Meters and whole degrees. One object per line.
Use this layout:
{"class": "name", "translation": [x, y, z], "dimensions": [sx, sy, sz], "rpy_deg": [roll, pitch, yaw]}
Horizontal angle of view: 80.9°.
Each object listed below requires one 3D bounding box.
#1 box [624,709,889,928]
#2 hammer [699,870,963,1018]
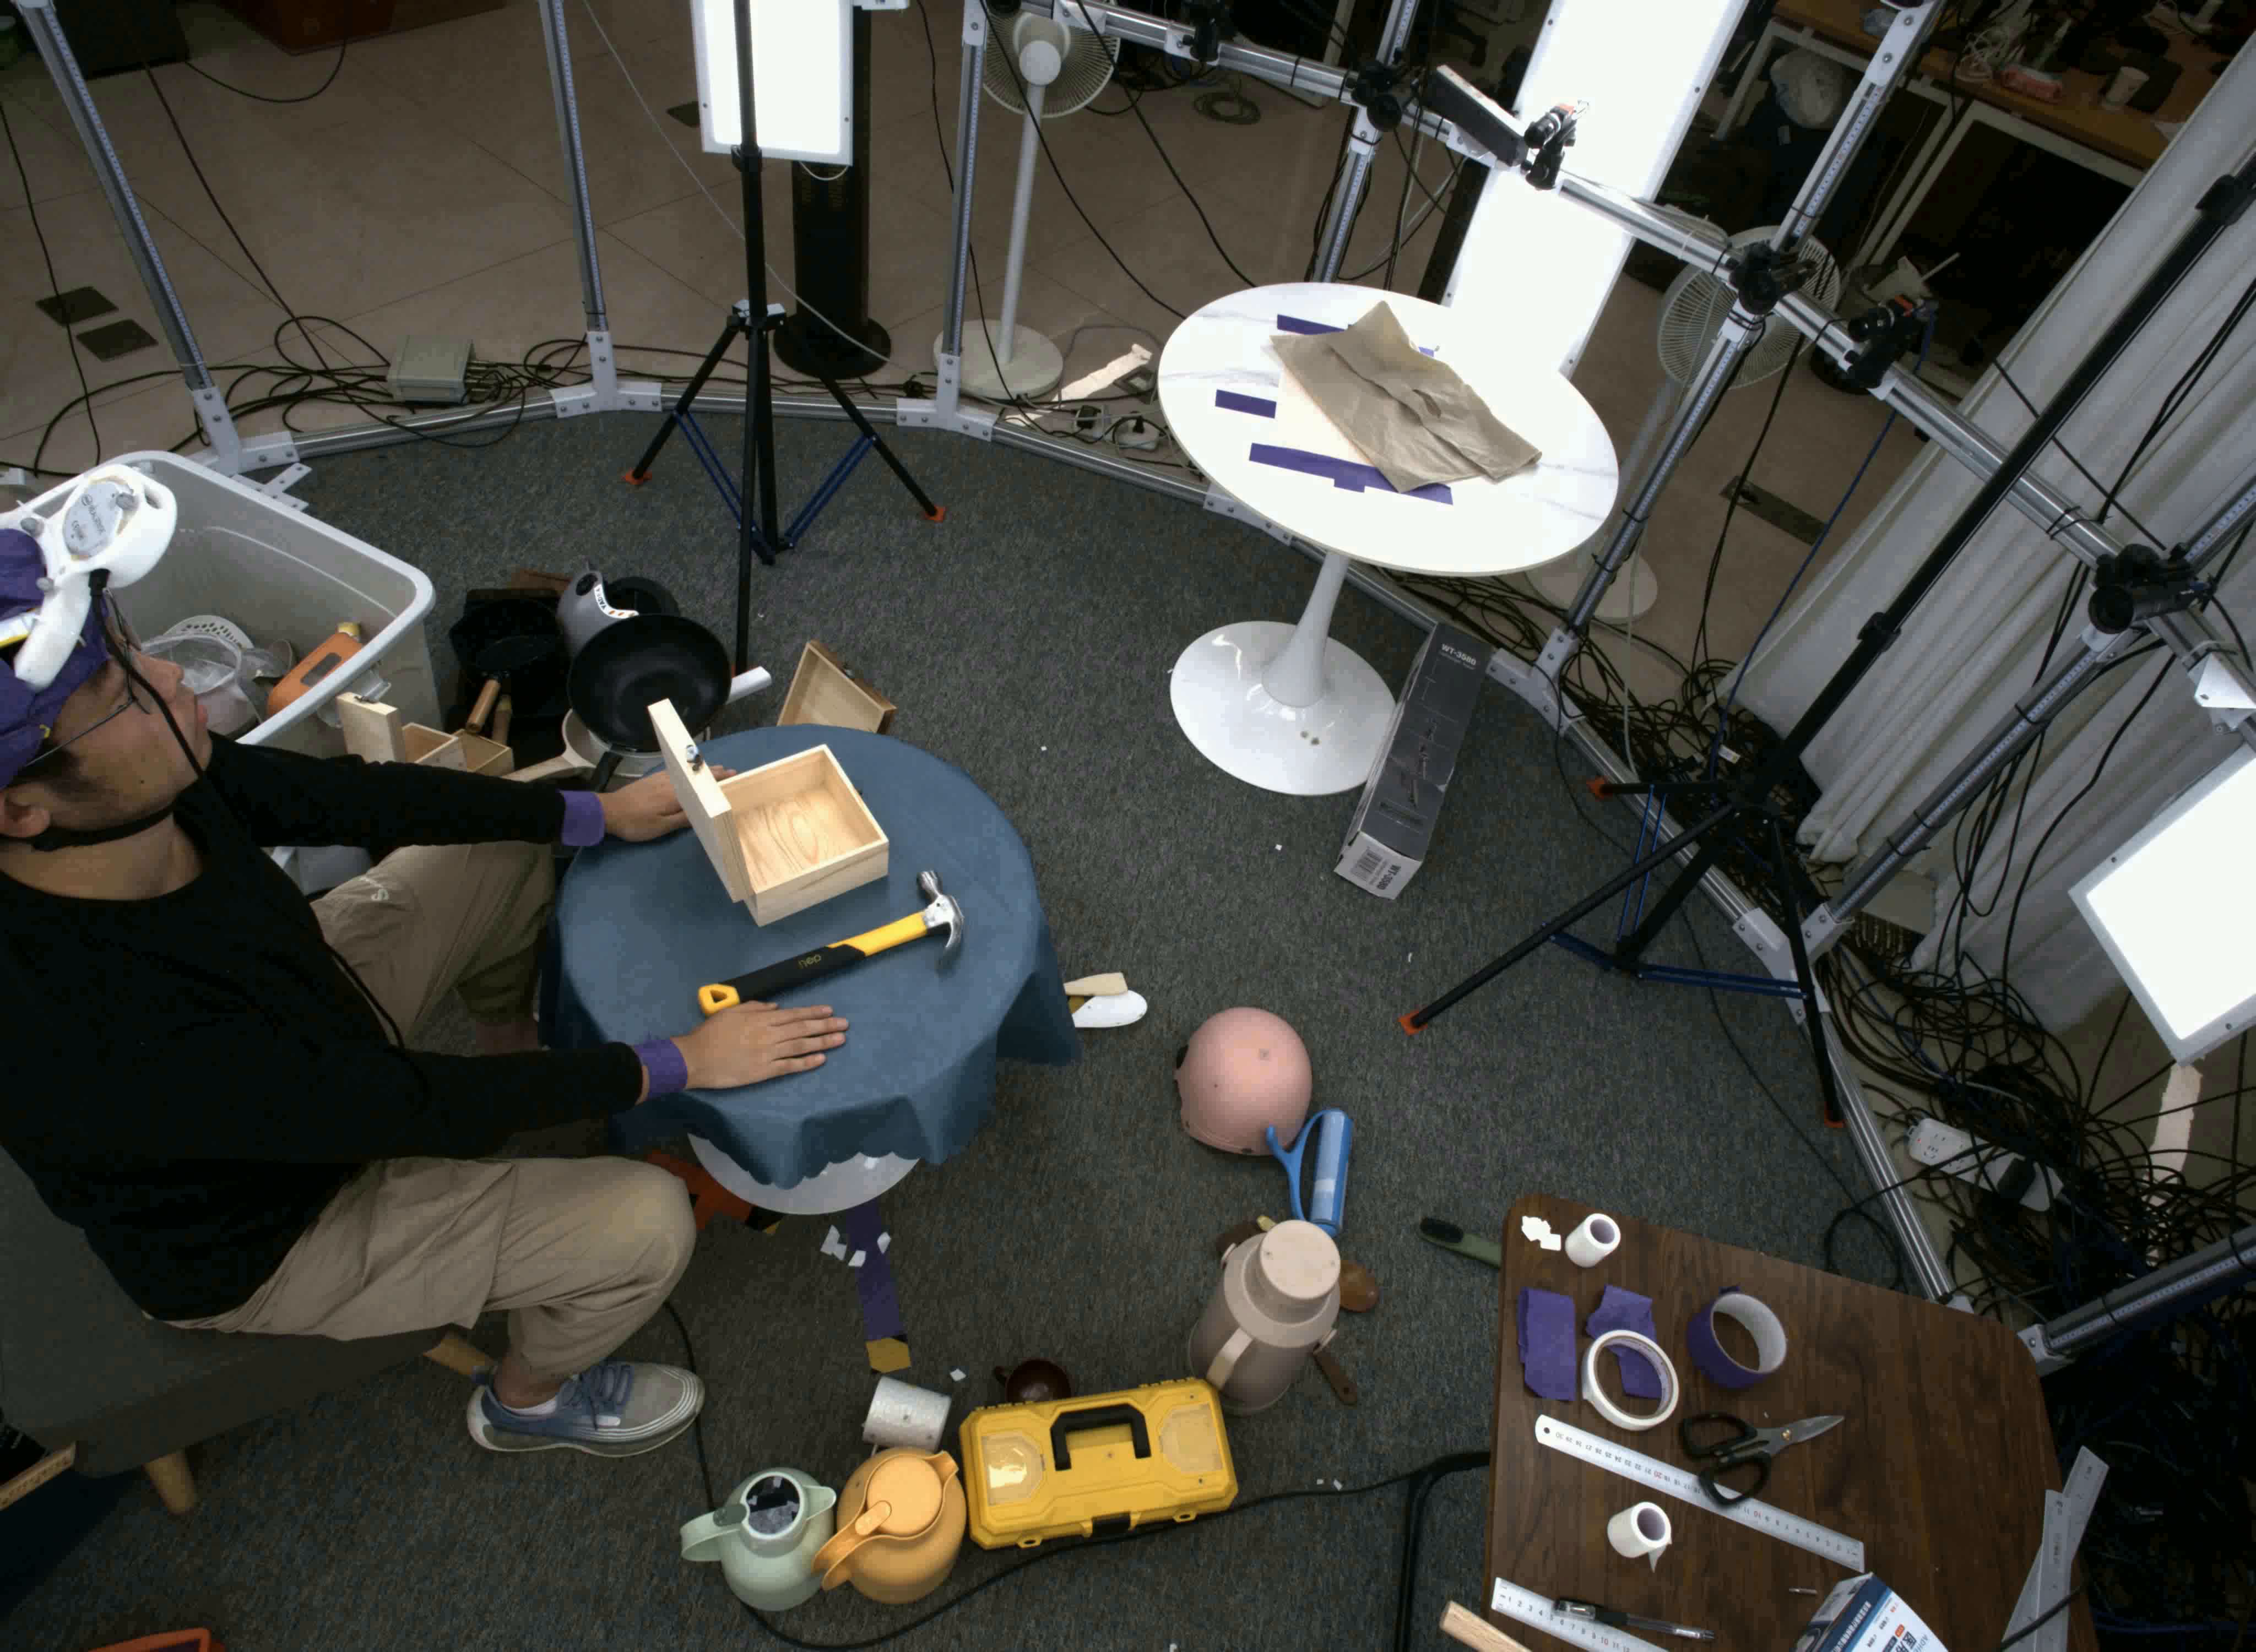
{"class": "box", "translation": [-0.444, -0.035, 1.581], "dimensions": [0.266, 0.258, 0.177], "rpy_deg": [-25, 63, -28]}
{"class": "hammer", "translation": [-0.361, 0.156, 1.597], "dimensions": [0.340, 0.033, 0.128], "rpy_deg": [-19, 60, -27]}
